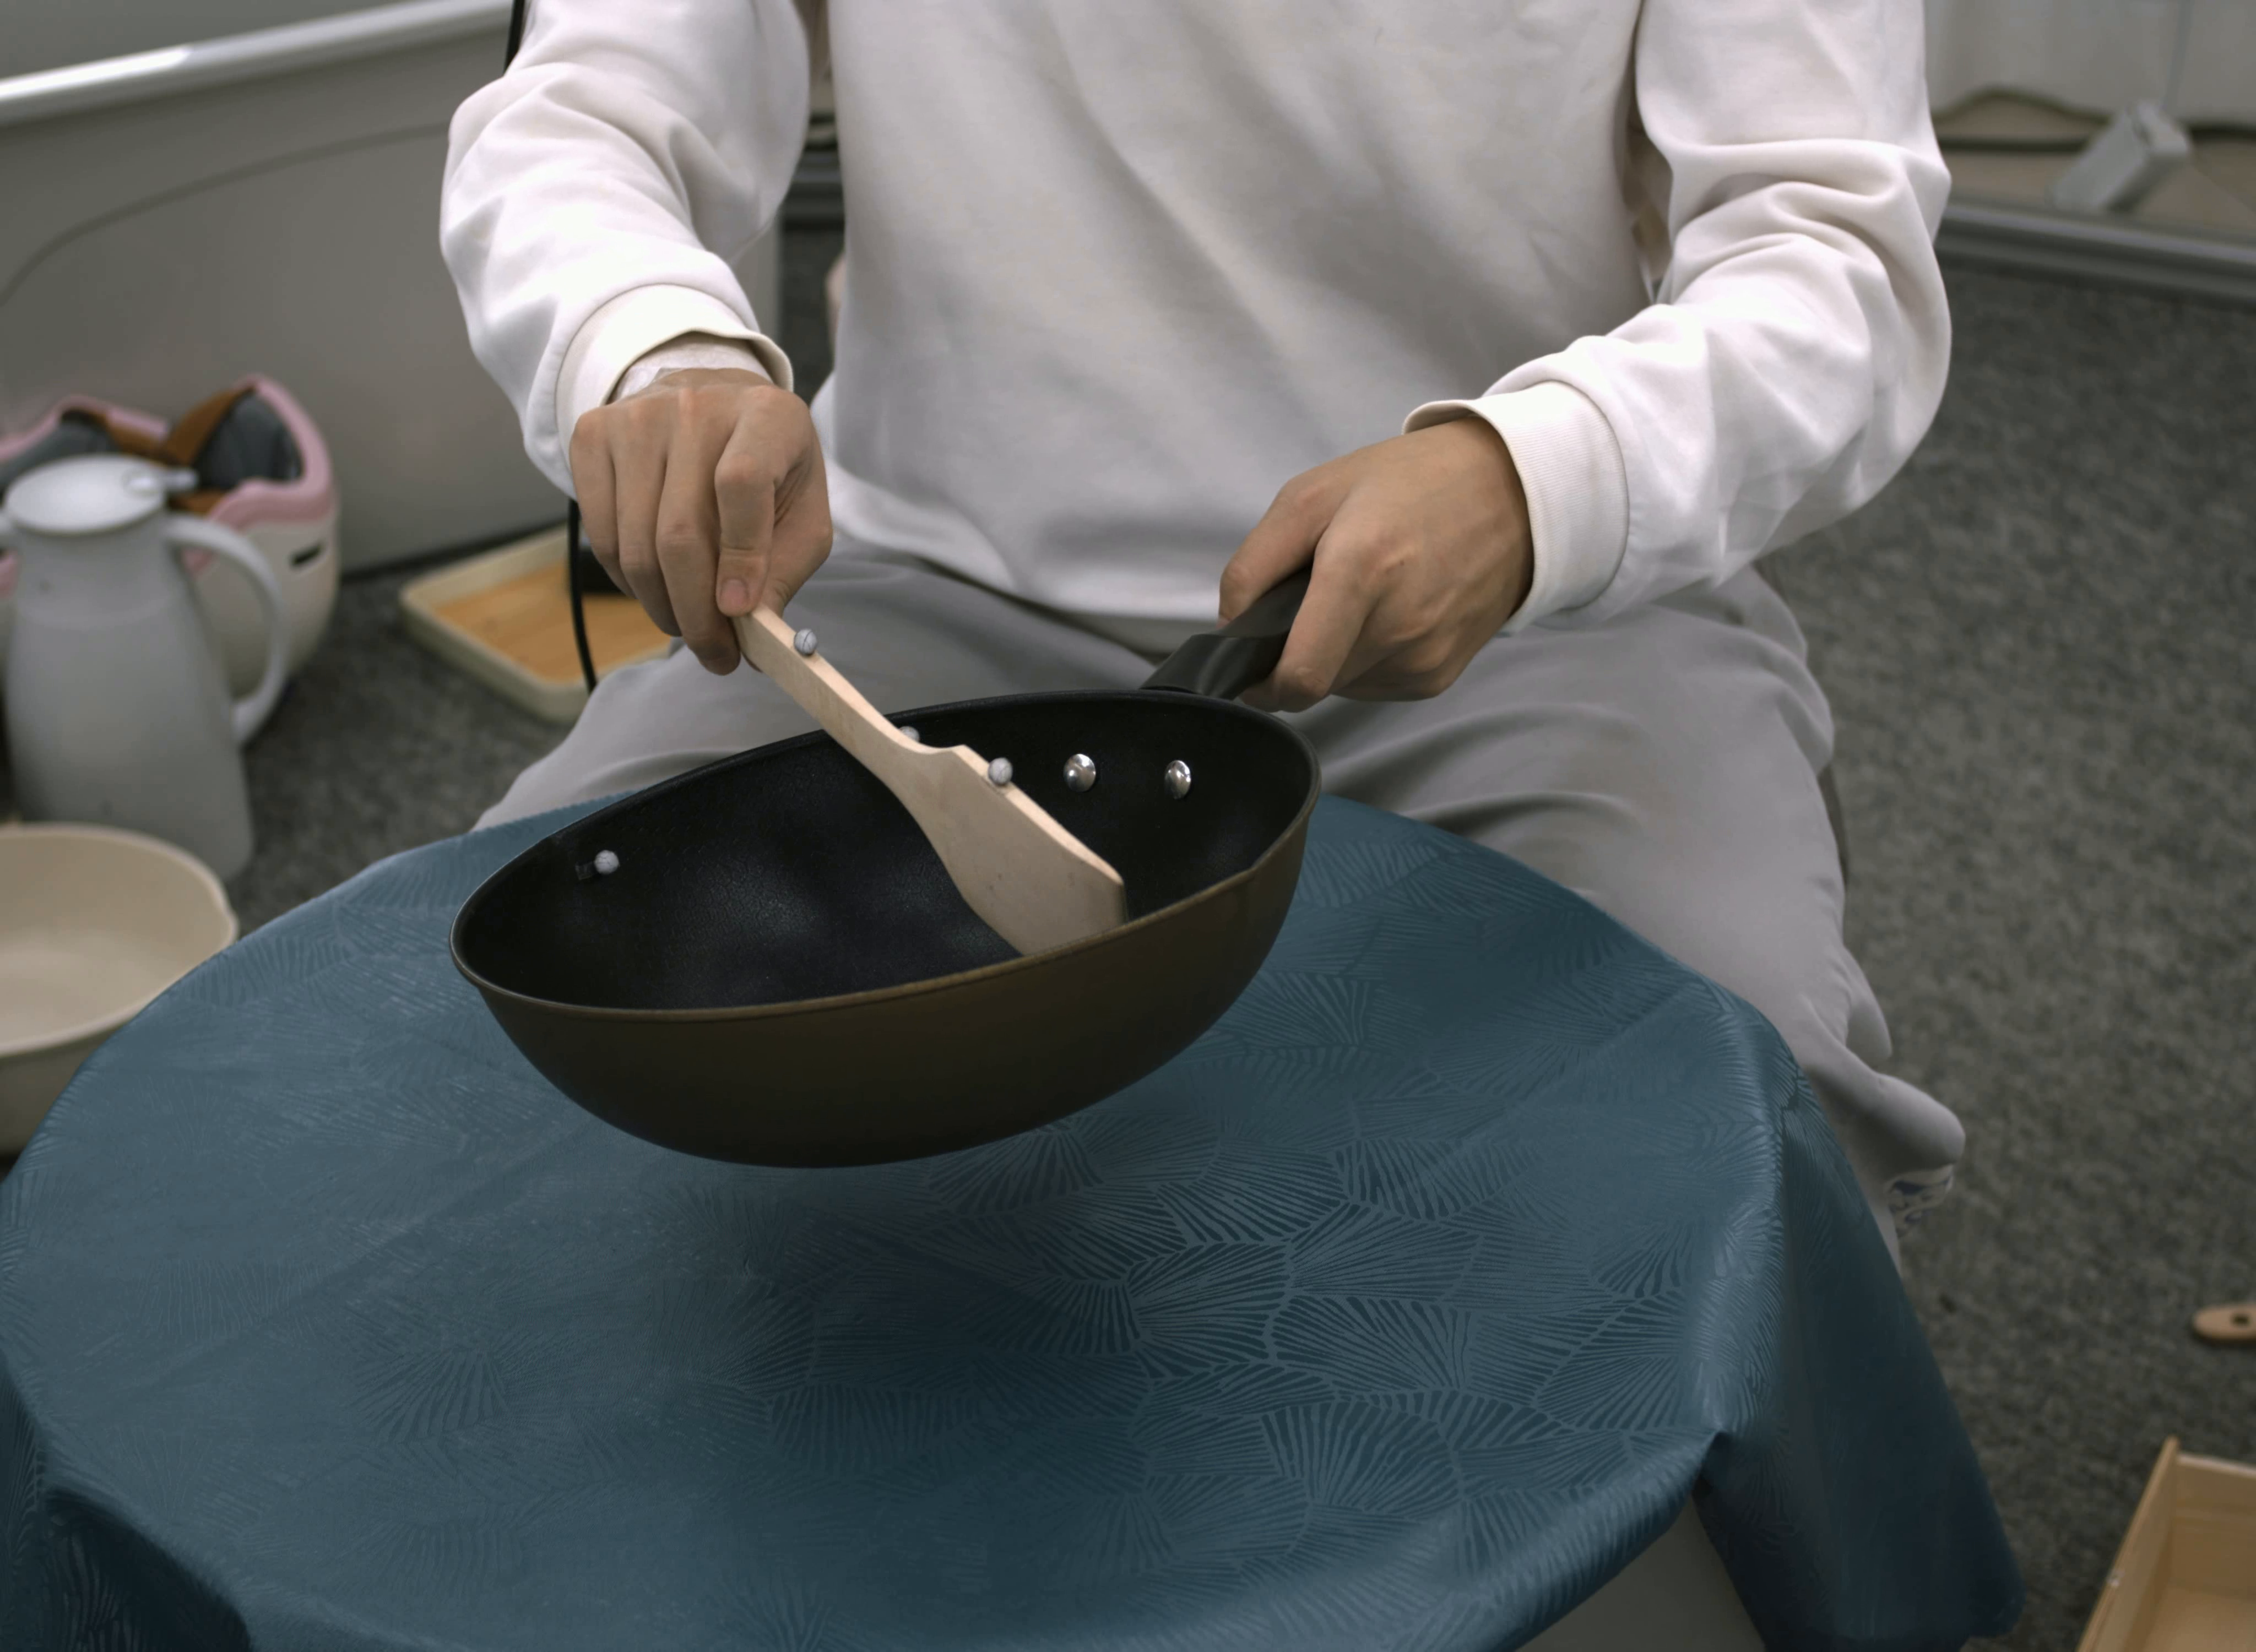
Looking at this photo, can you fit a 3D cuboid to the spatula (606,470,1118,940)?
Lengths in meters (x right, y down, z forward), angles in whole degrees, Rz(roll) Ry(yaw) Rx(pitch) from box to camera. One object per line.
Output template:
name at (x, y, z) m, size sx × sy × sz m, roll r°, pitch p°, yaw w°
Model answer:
spatula at (-0.092, -0.038, 1.867) m, size 0.011 × 0.071 × 0.295 m, roll -30°, pitch 50°, yaw -23°

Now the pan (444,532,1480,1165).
pan at (-0.018, 0.009, 1.851) m, size 0.285 × 0.086 × 0.470 m, roll 2°, pitch 21°, yaw 37°
